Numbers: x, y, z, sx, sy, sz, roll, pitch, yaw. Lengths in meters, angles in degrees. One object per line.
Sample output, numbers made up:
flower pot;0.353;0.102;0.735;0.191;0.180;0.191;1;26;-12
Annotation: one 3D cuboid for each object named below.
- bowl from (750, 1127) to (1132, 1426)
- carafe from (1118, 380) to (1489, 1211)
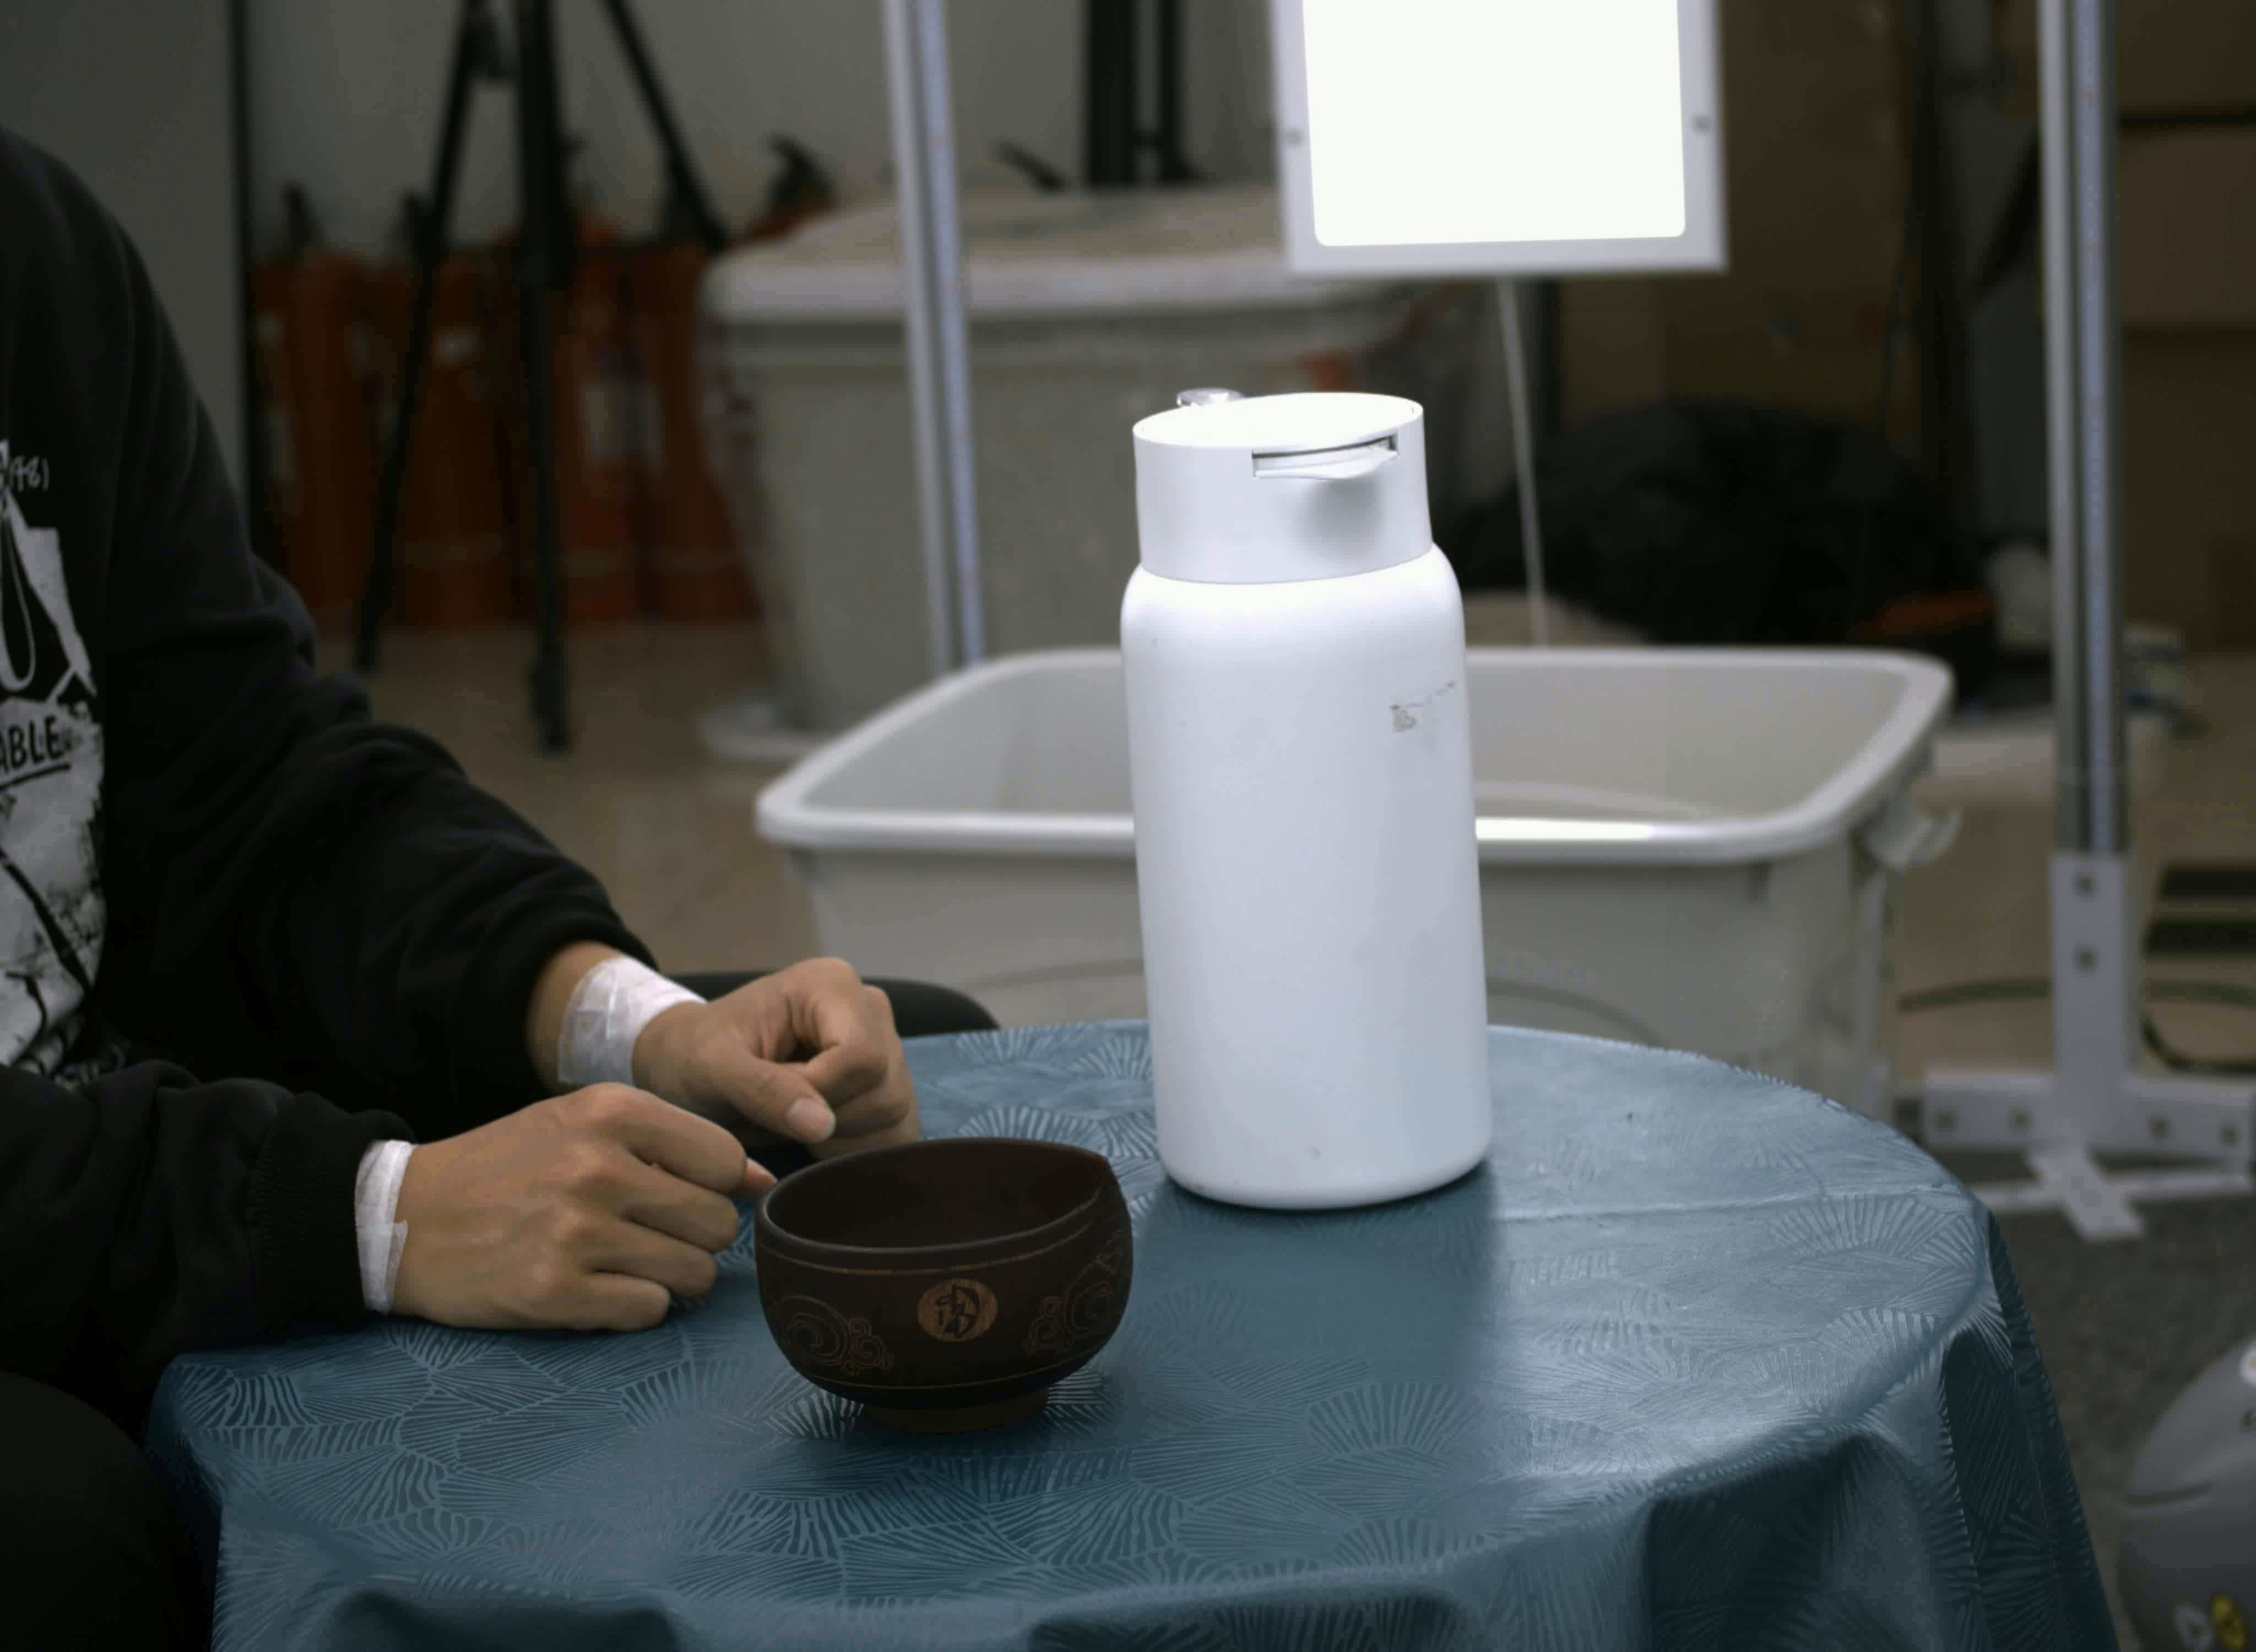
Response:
bowl;-0.056;0.143;1.698;0.118;0.070;0.118;-5;14;0
carafe;0.051;-0.014;1.890;0.121;0.270;0.175;-12;16;-20
